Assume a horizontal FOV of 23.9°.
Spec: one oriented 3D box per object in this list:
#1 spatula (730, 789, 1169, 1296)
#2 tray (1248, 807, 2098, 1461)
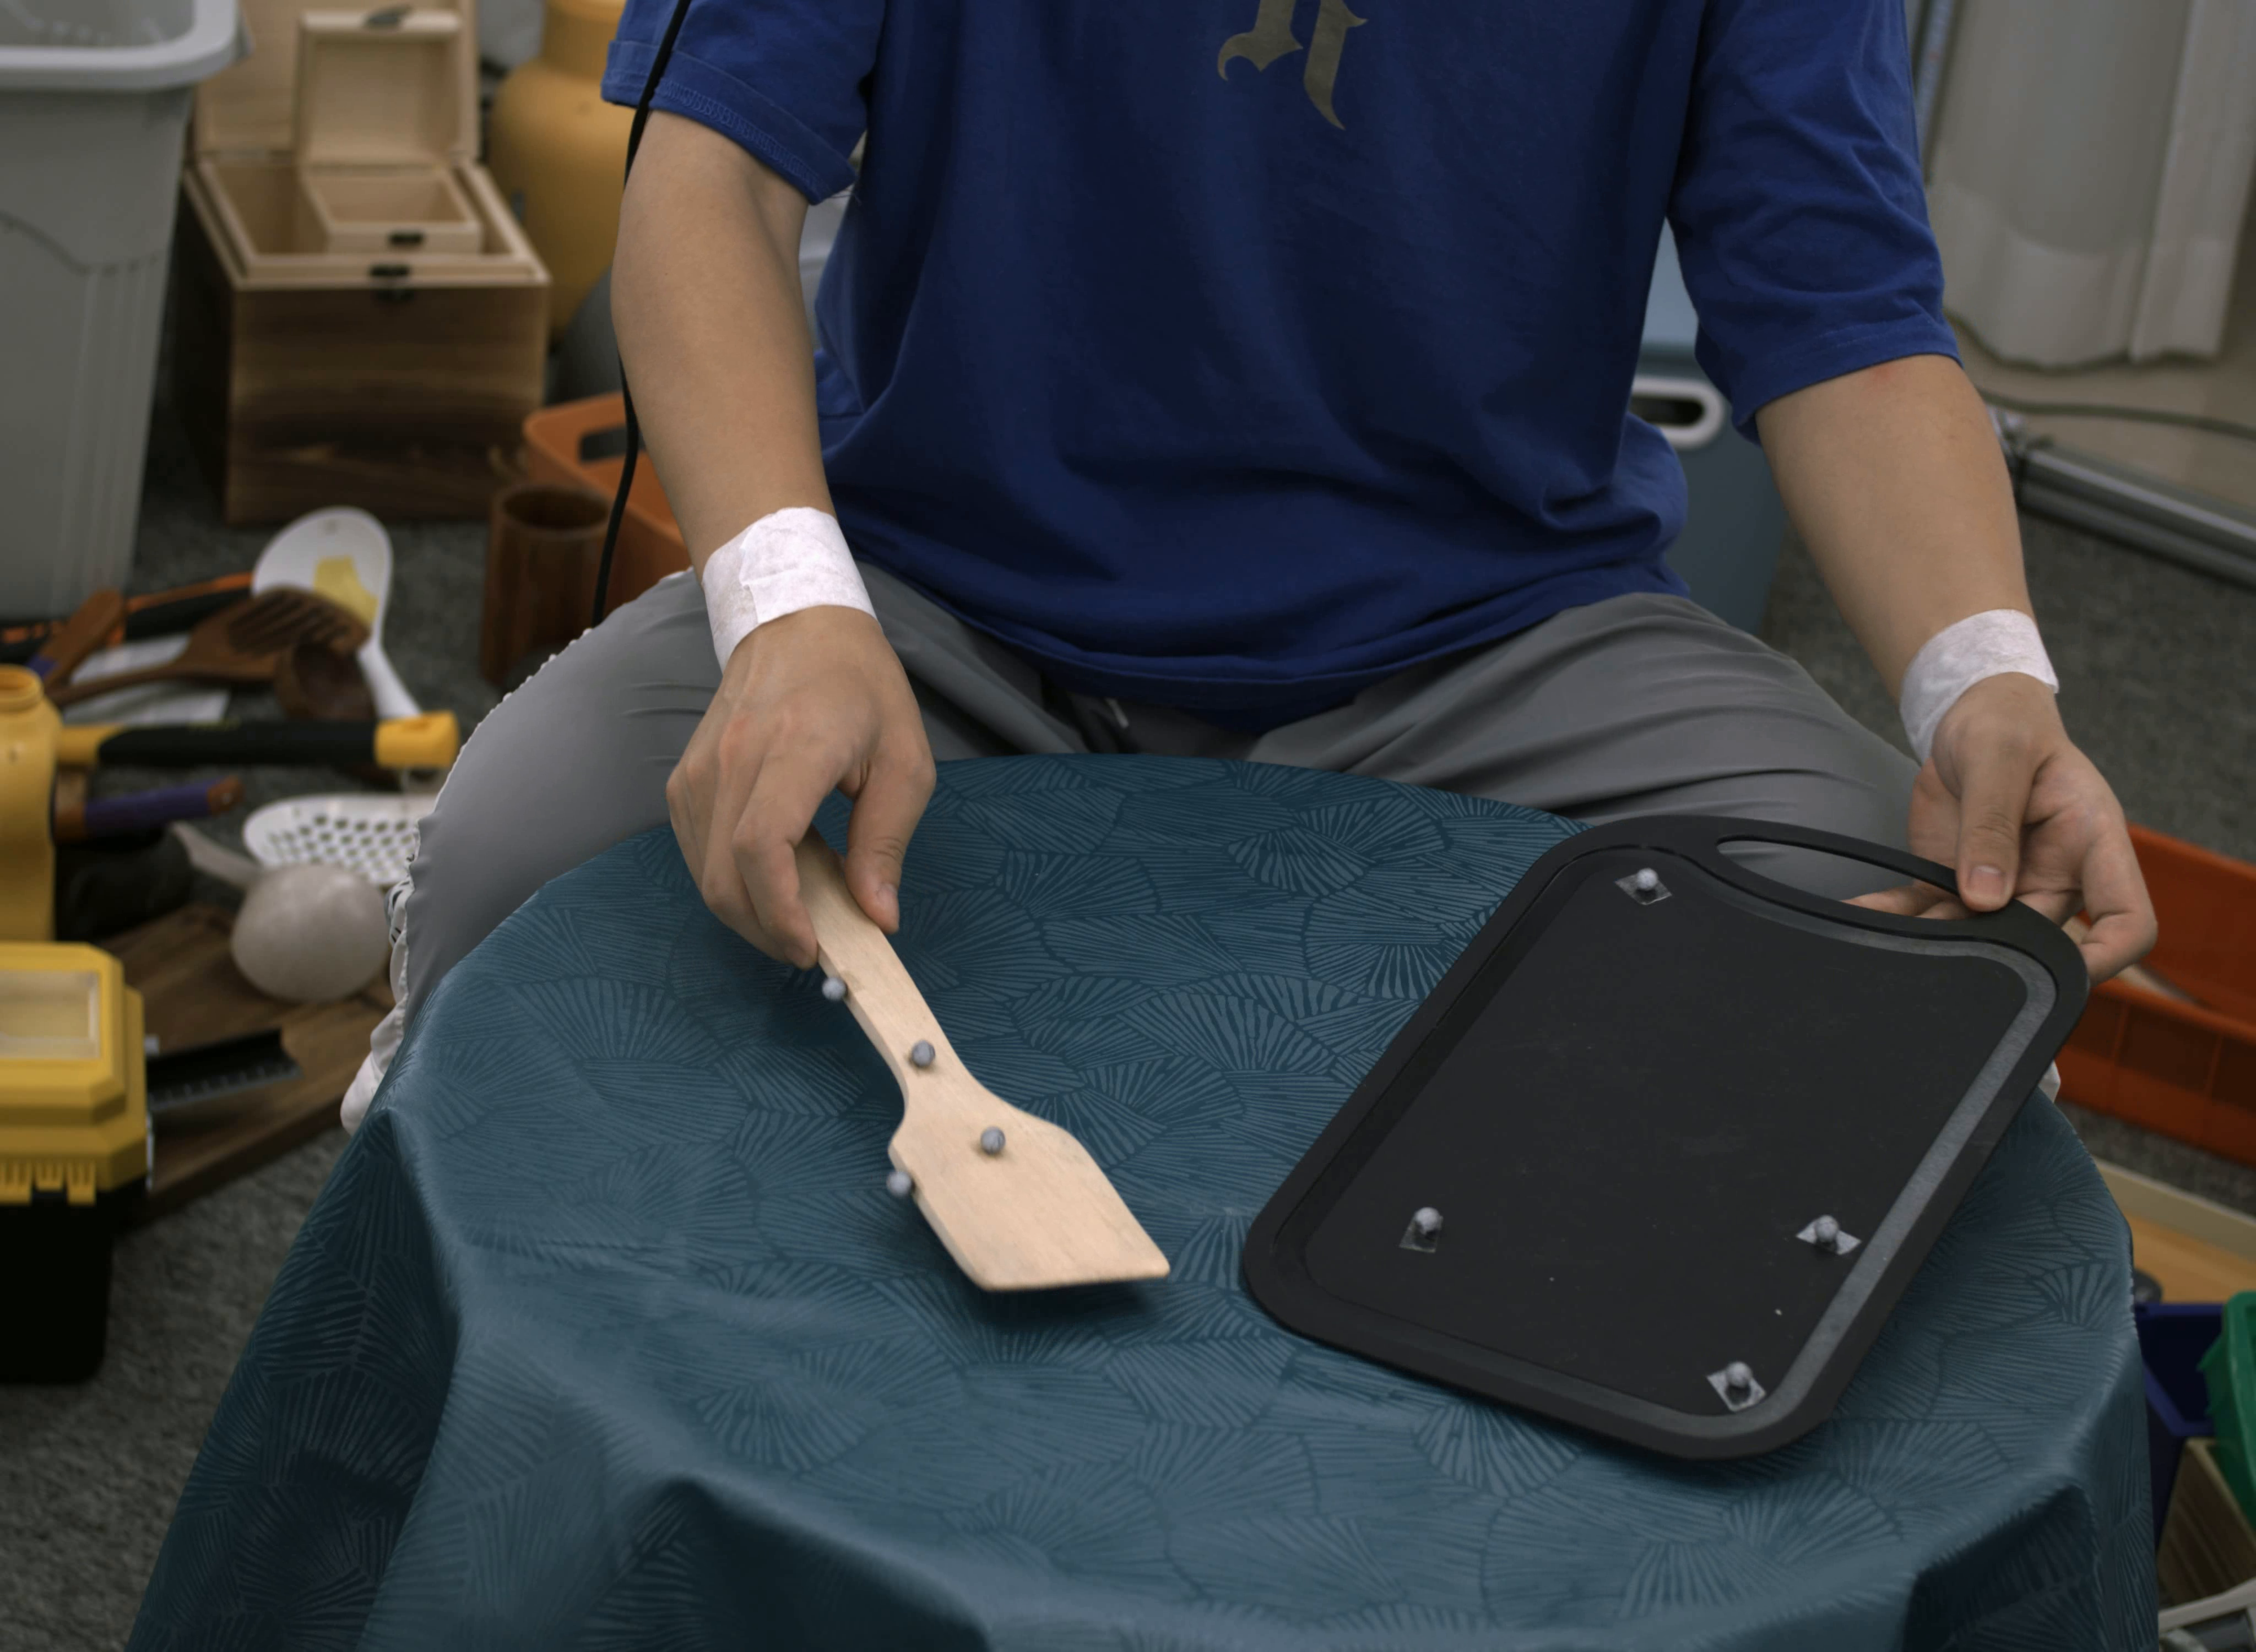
[{"bbox_3d":[-0.076,0.070,1.829,0.072,0.010,0.296,-4,35,-27],"label":"spatula"},{"bbox_3d":[0.192,0.091,1.813,0.212,0.010,0.325,17,42,26],"label":"tray"}]
